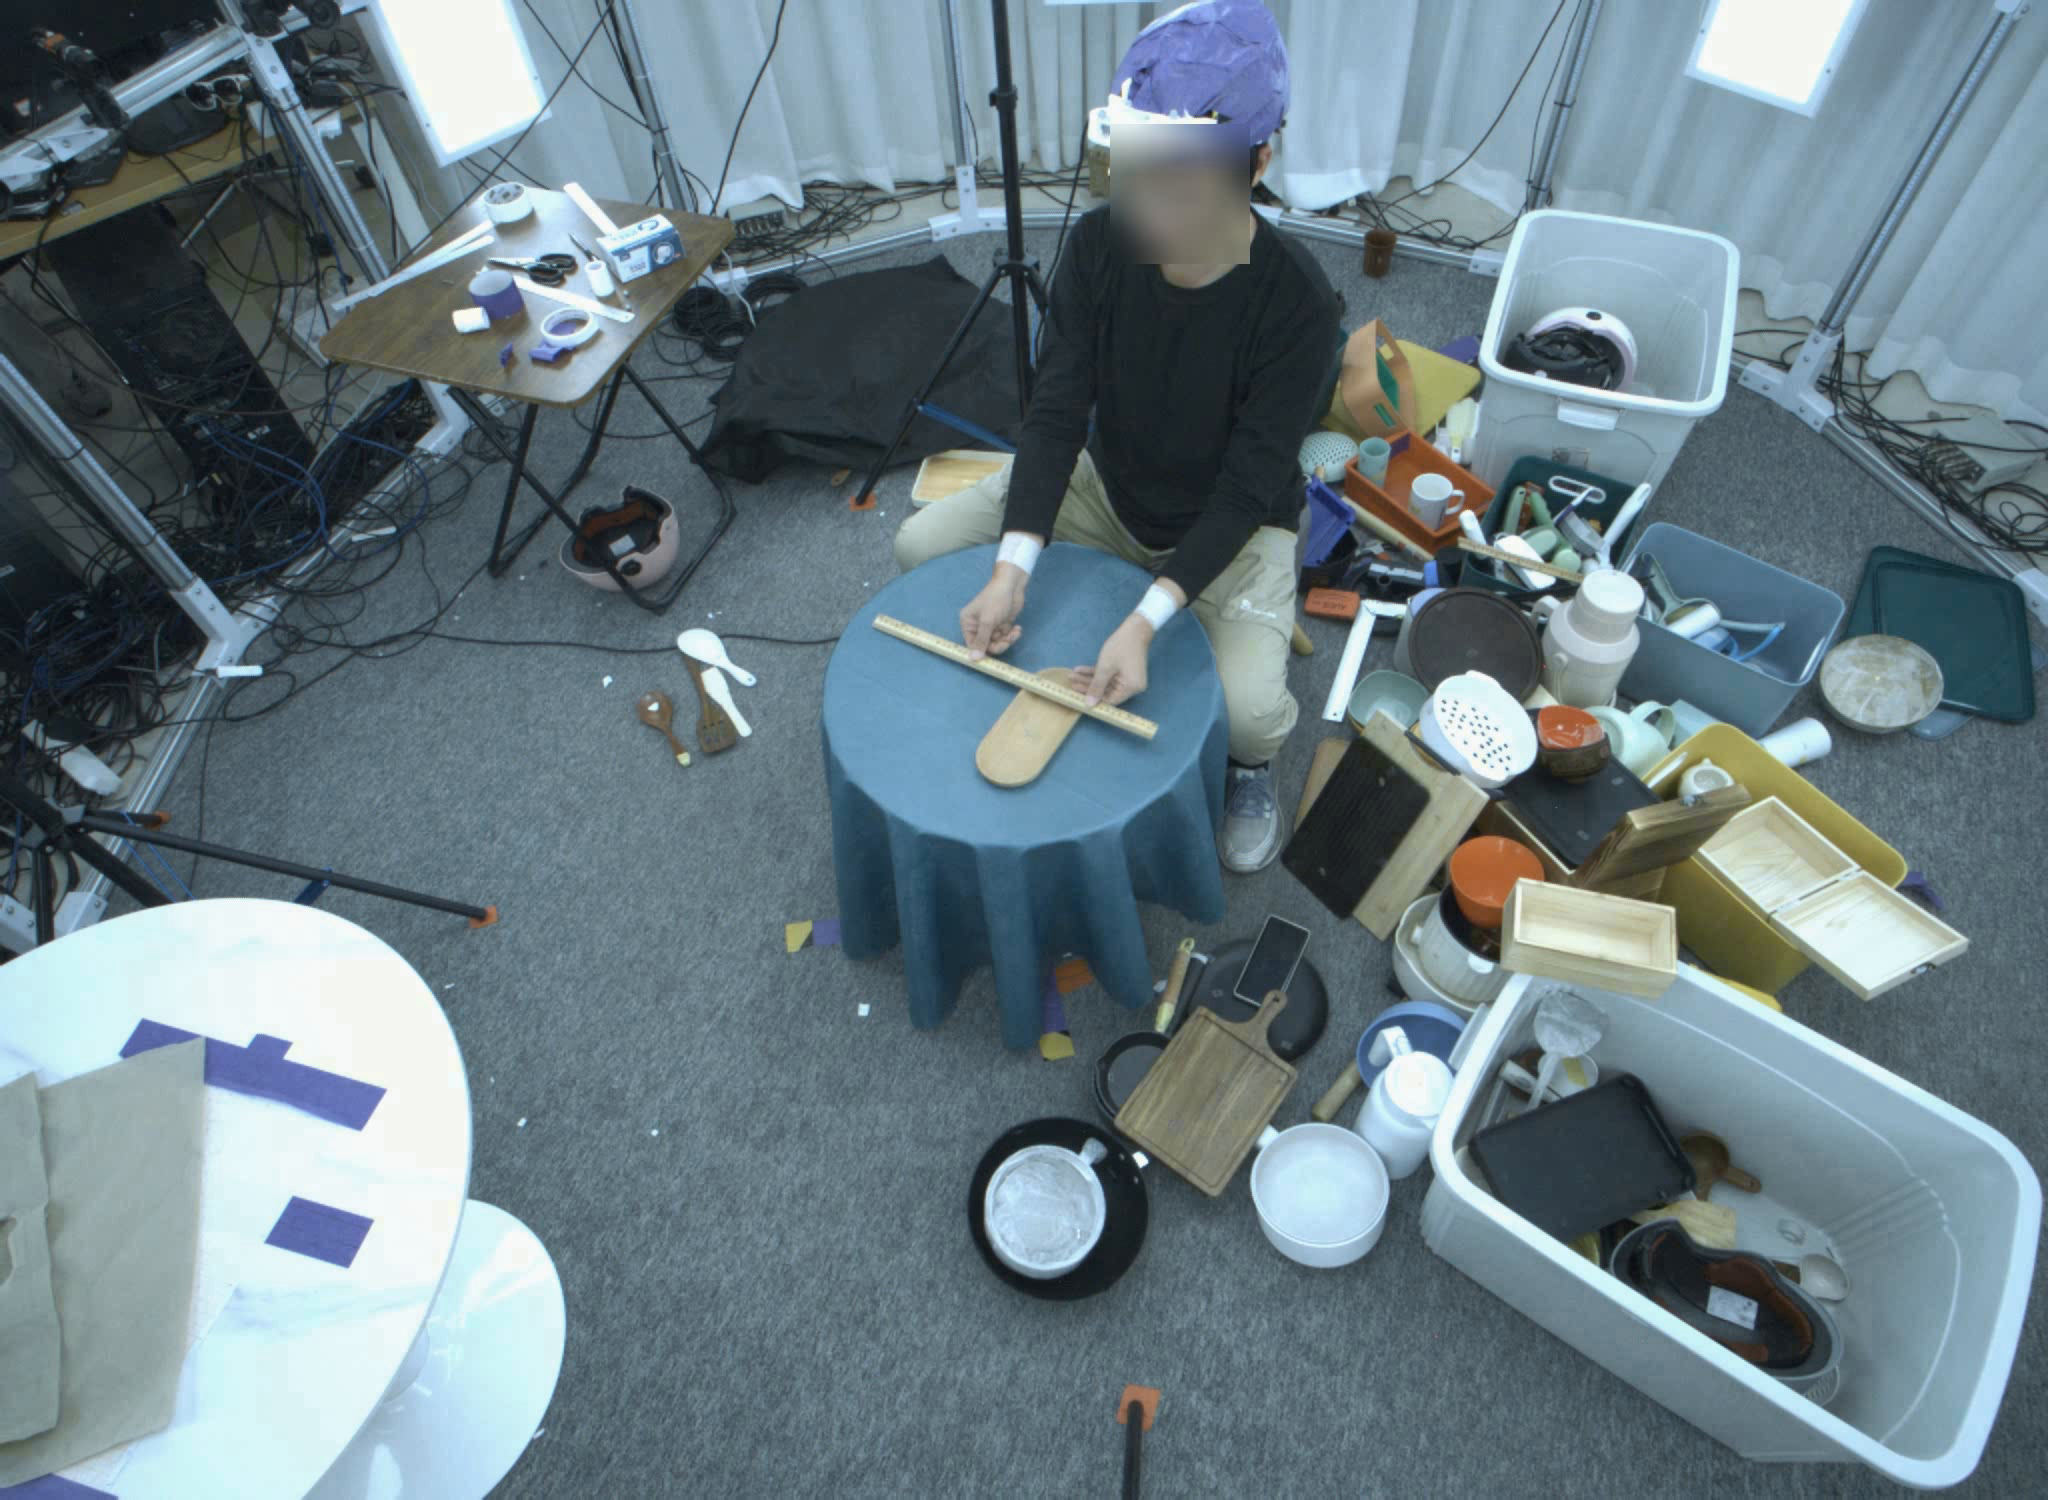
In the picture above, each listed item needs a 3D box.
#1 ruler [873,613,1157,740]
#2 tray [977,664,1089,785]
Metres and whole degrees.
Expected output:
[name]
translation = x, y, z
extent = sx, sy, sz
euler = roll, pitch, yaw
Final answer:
[ruler]
translation = -0.024, -0.116, 1.848
extent = 0.492, 0.006, 0.027
euler = 24, 72, 21
[tray]
translation = 0.015, -0.040, 1.805
extent = 0.100, 0.020, 0.232
euler = 24, 57, 16
